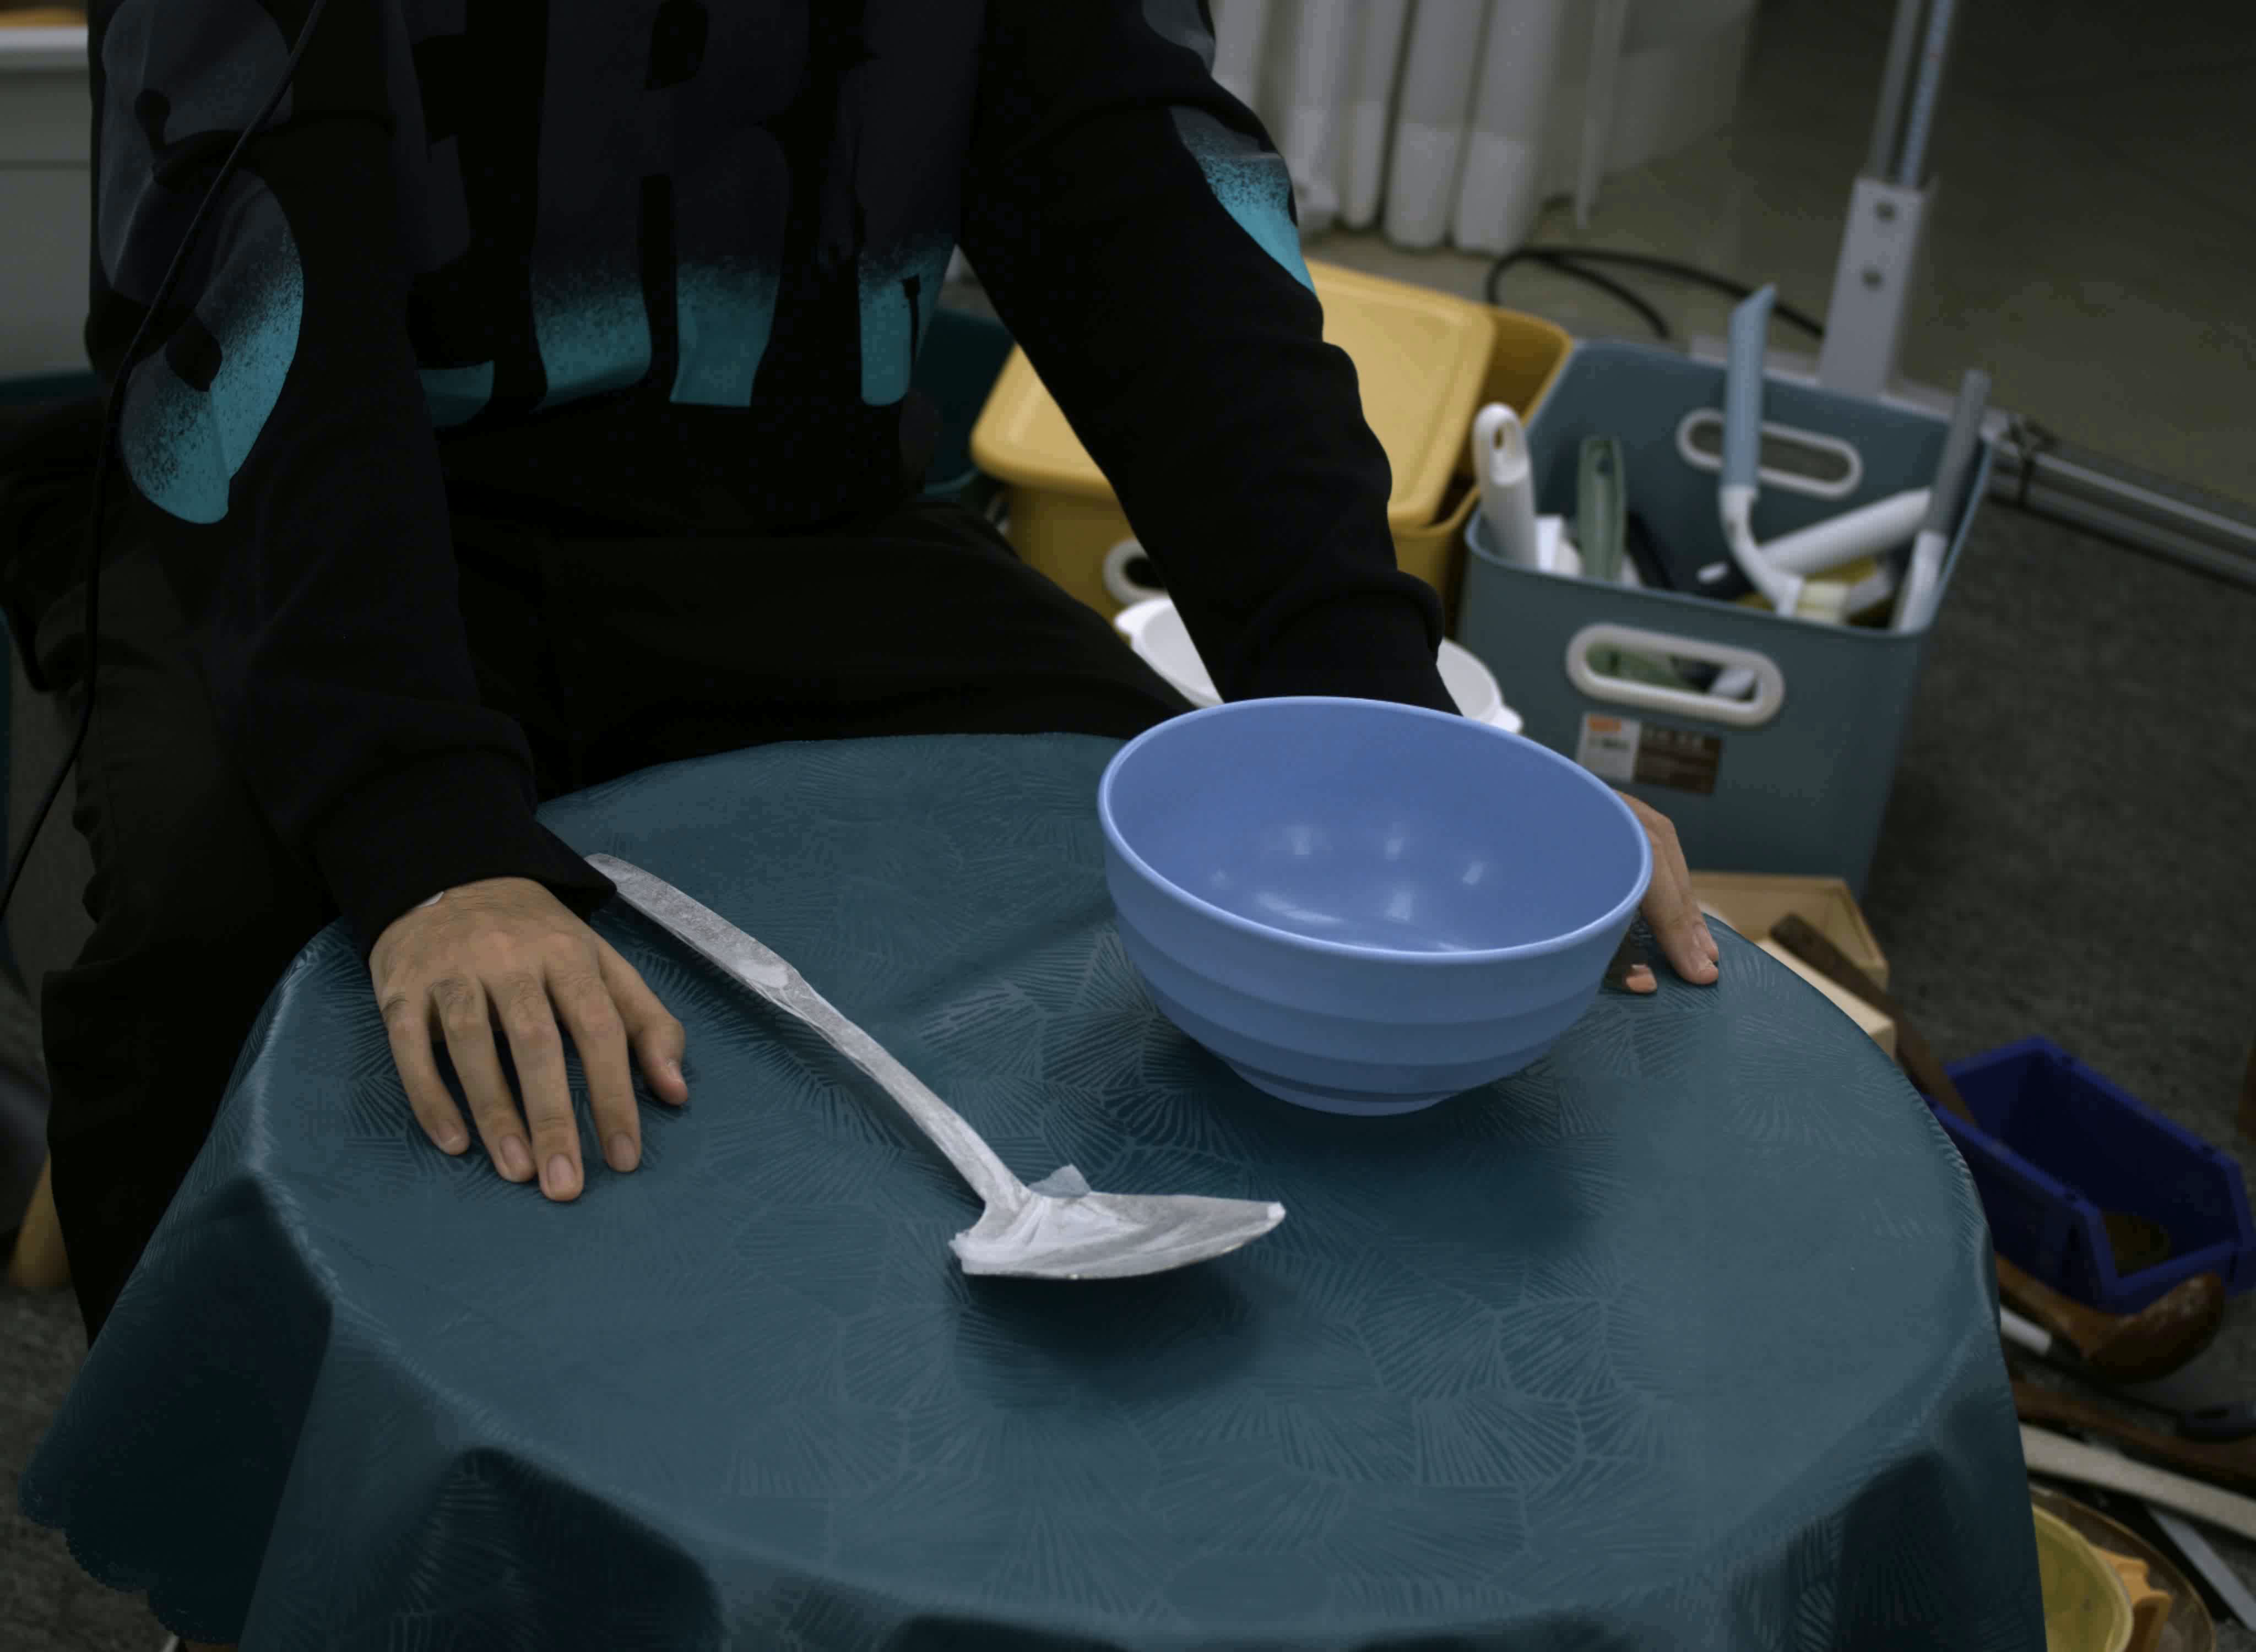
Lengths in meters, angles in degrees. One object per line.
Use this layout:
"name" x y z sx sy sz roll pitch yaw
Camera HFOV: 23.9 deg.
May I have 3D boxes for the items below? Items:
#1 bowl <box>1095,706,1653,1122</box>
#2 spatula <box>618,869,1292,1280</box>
"bowl" 0.082 0.041 1.881 0.196 0.095 0.197 4 26 -2
"spatula" -0.083 0.078 1.830 0.098 0.044 0.368 -15 34 -33
